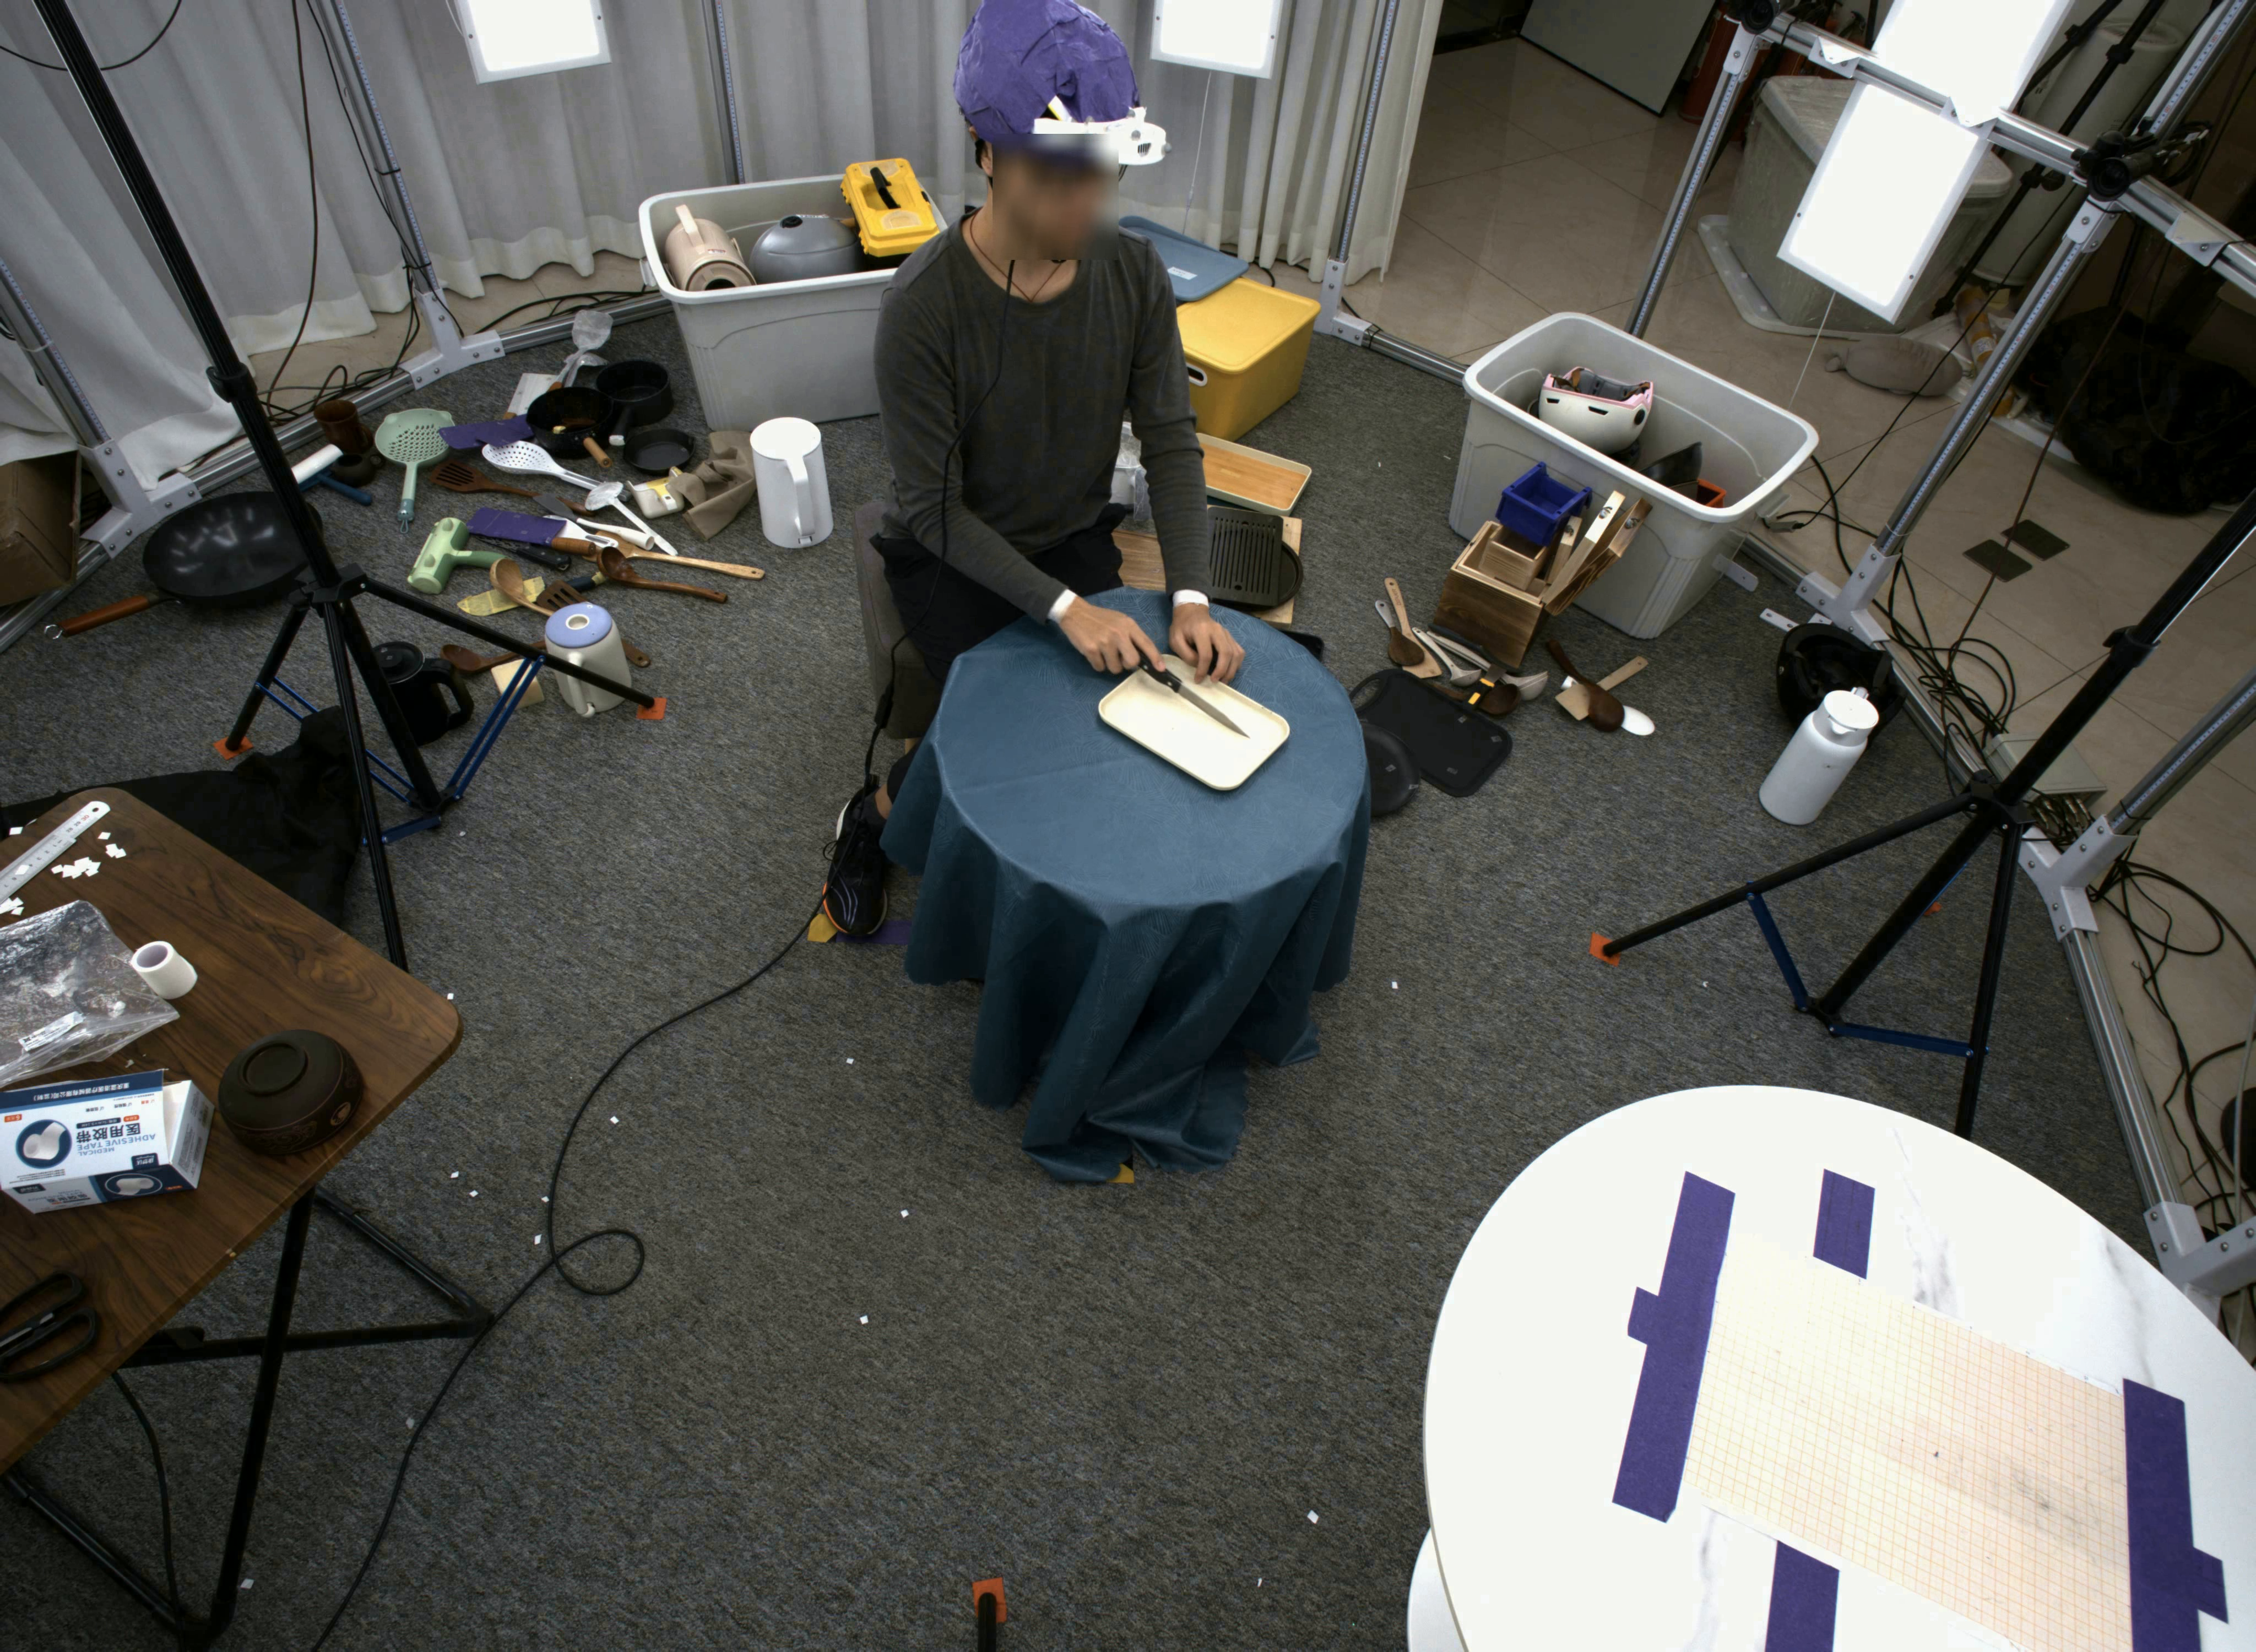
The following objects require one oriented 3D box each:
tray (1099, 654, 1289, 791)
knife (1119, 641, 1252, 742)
[{"bbox_3d":[0.091,-0.146,1.789,0.242,0.017,0.173,33,55,23],"label":"tray"},{"bbox_3d":[0.082,-0.191,1.805,0.240,0.024,0.016,39,53,15],"label":"knife"}]
